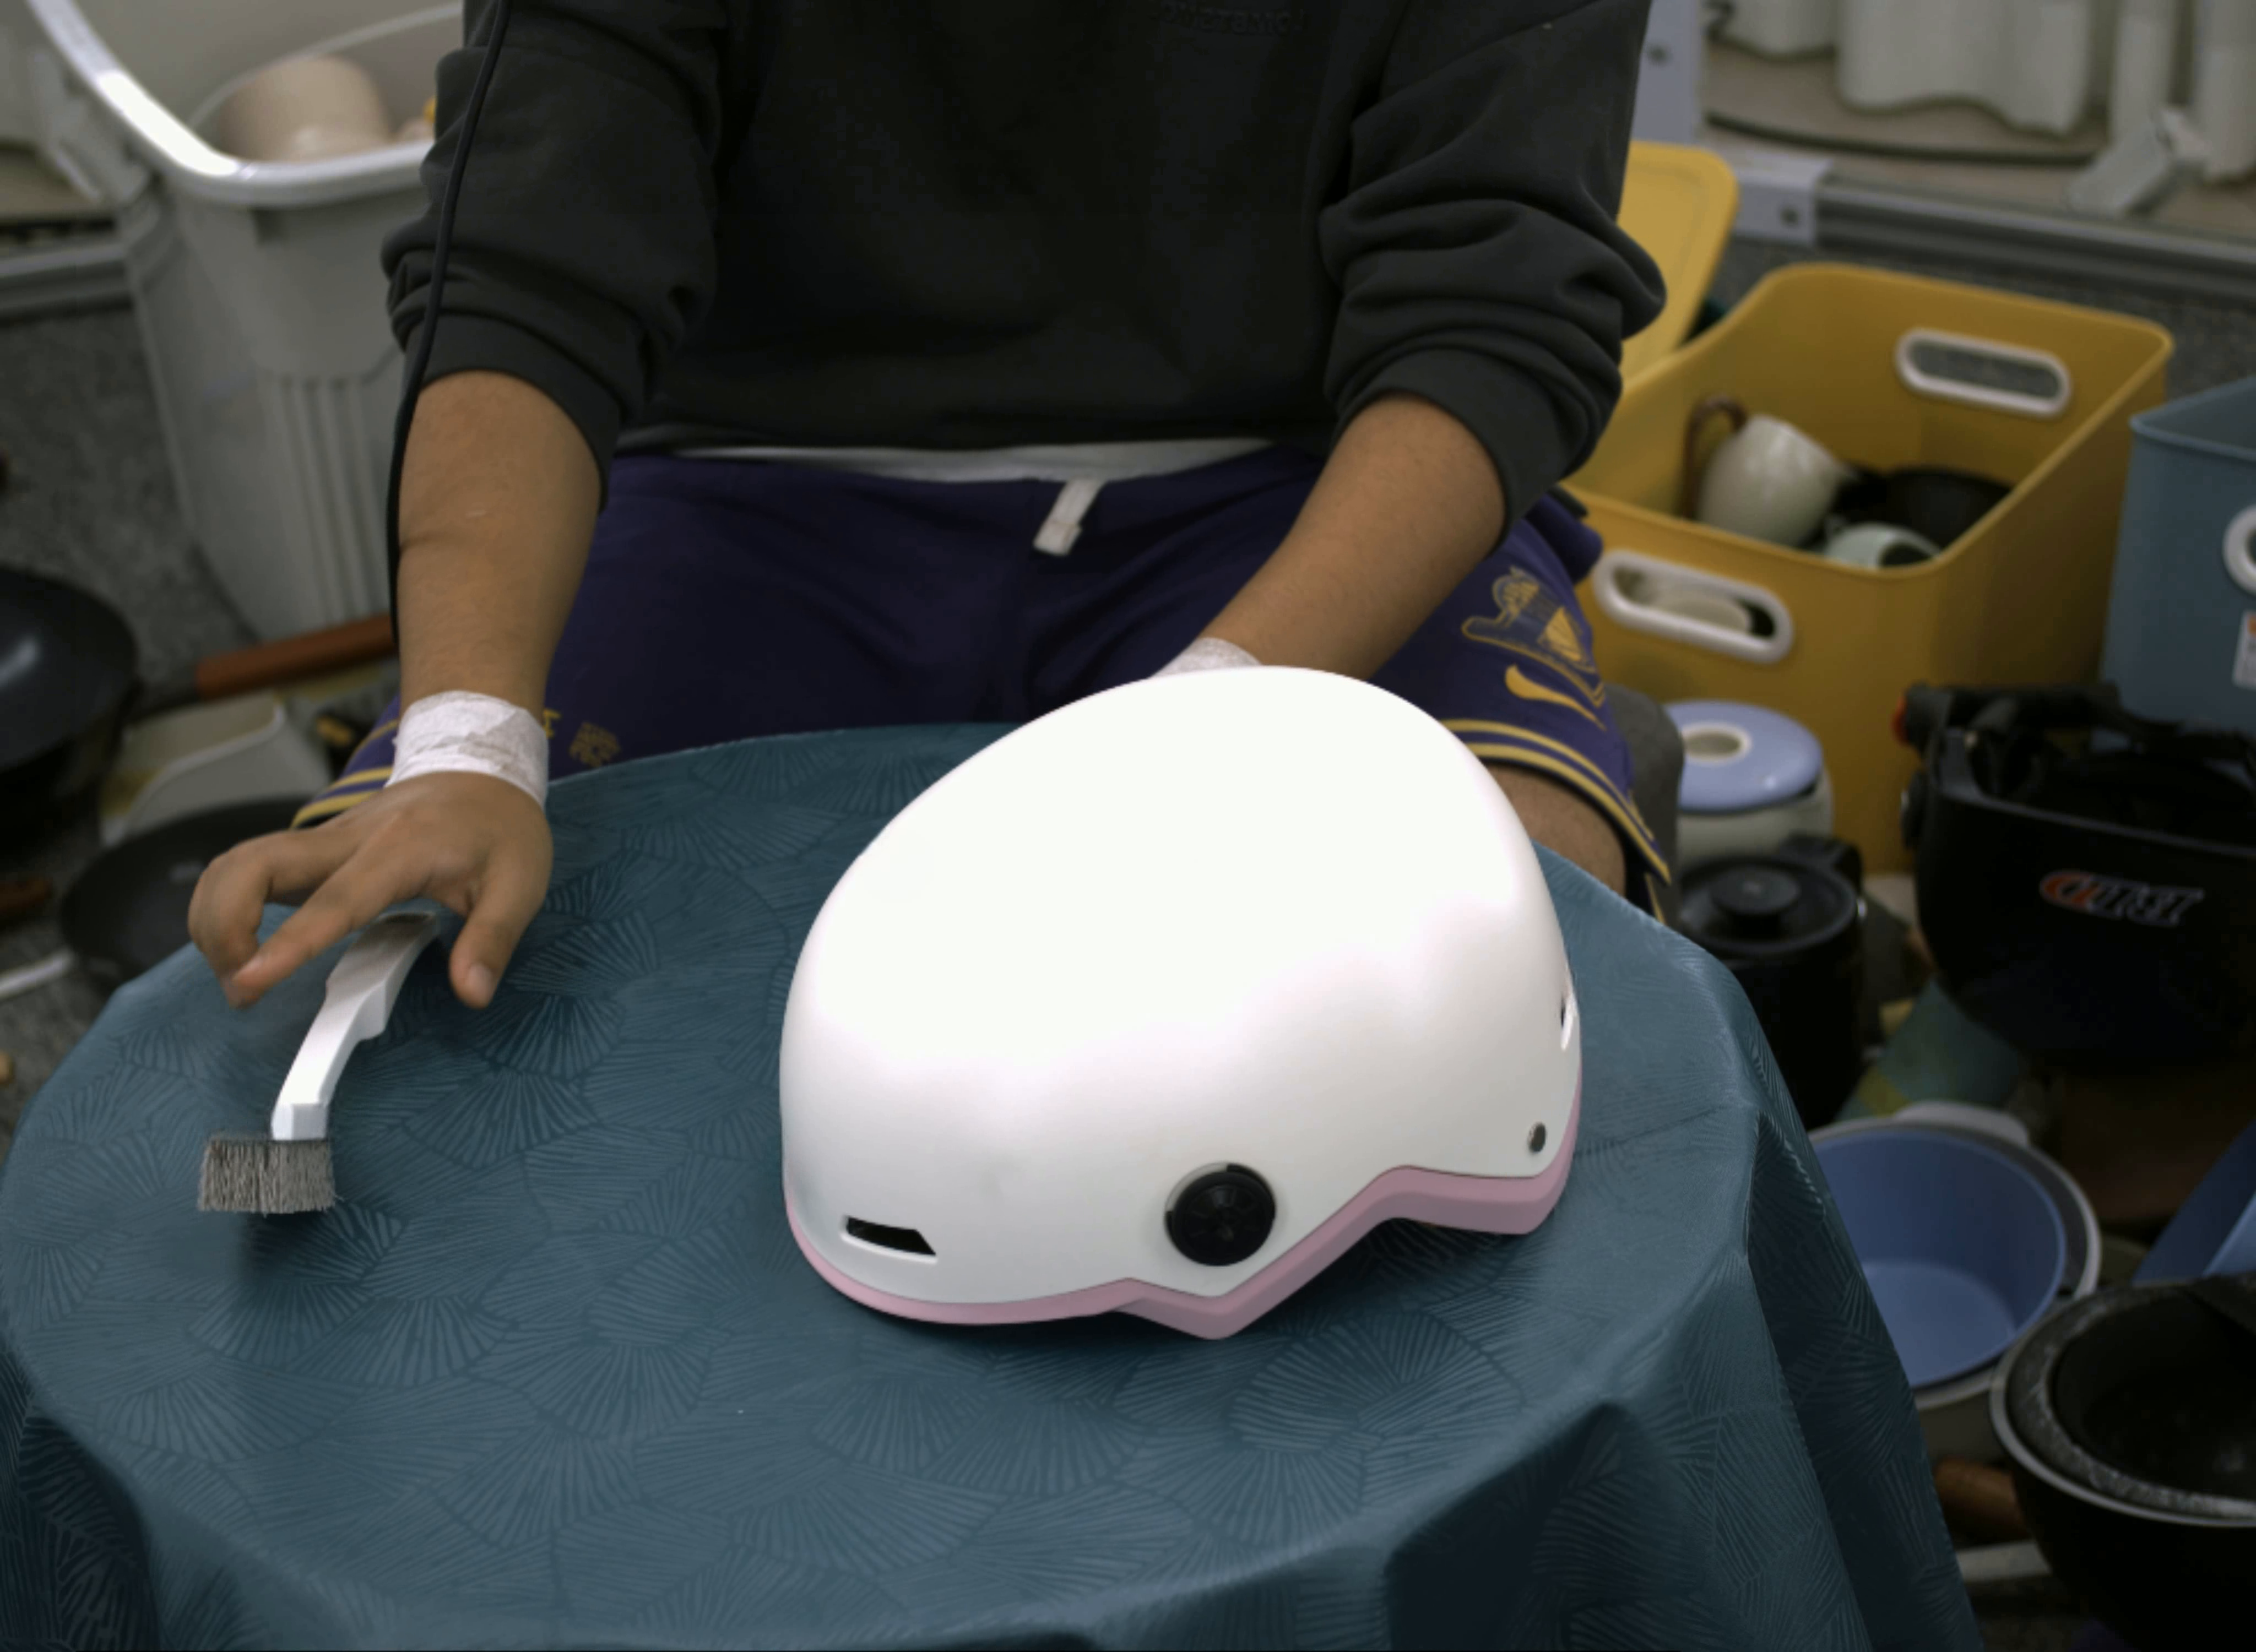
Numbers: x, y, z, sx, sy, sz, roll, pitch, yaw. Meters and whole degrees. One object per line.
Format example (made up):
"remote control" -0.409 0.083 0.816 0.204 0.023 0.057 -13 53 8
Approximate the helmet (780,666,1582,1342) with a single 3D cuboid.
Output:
"helmet" 0.014 0.042 1.839 0.269 0.165 0.239 -11 28 -15

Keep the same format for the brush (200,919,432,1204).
"brush" -0.275 0.085 1.936 0.034 0.050 0.246 0 14 6
